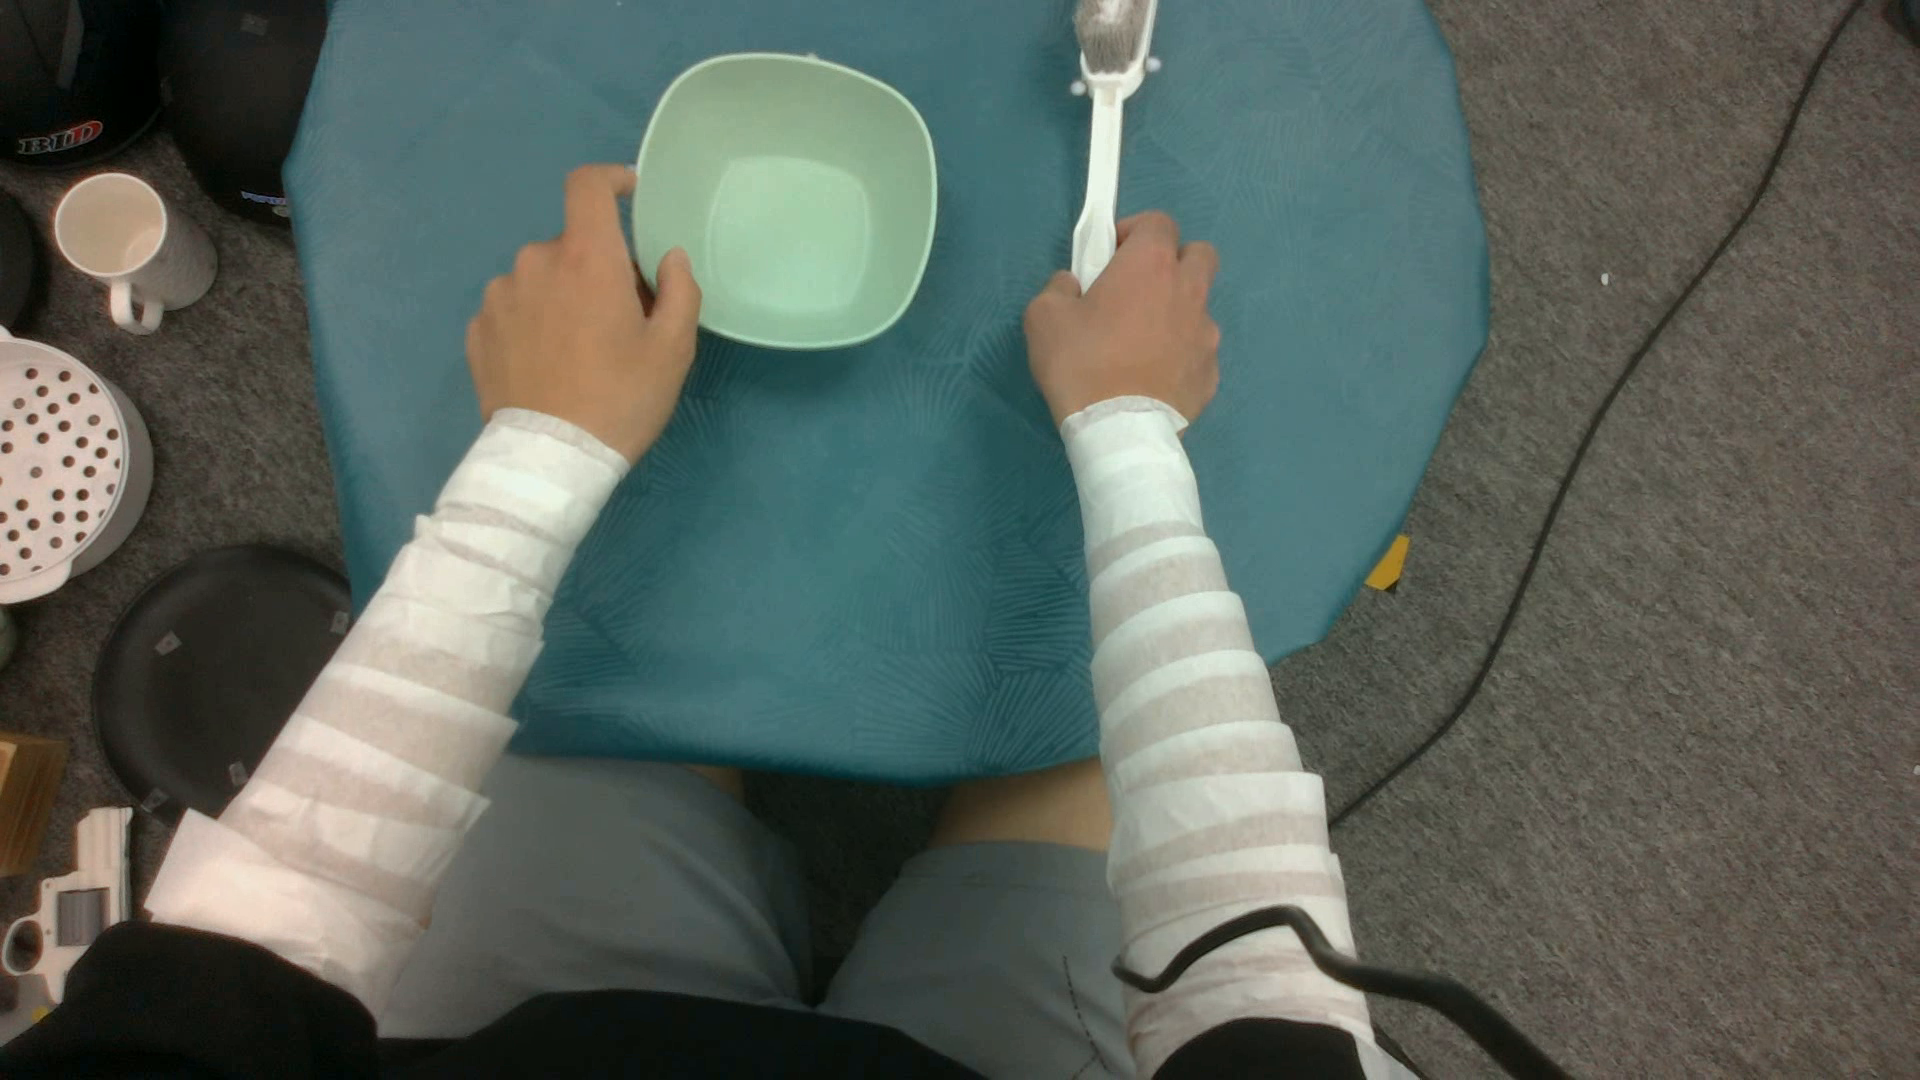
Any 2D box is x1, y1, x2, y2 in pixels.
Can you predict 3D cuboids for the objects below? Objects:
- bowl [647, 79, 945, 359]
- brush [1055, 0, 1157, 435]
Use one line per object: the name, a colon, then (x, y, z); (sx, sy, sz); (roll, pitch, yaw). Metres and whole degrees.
bowl: (-0.078, -0.148, 0.675); (0.151, 0.058, 0.151); (1, 79, -3)
brush: (0.067, -0.176, 0.699); (0.034, 0.050, 0.244); (4, 81, 26)
